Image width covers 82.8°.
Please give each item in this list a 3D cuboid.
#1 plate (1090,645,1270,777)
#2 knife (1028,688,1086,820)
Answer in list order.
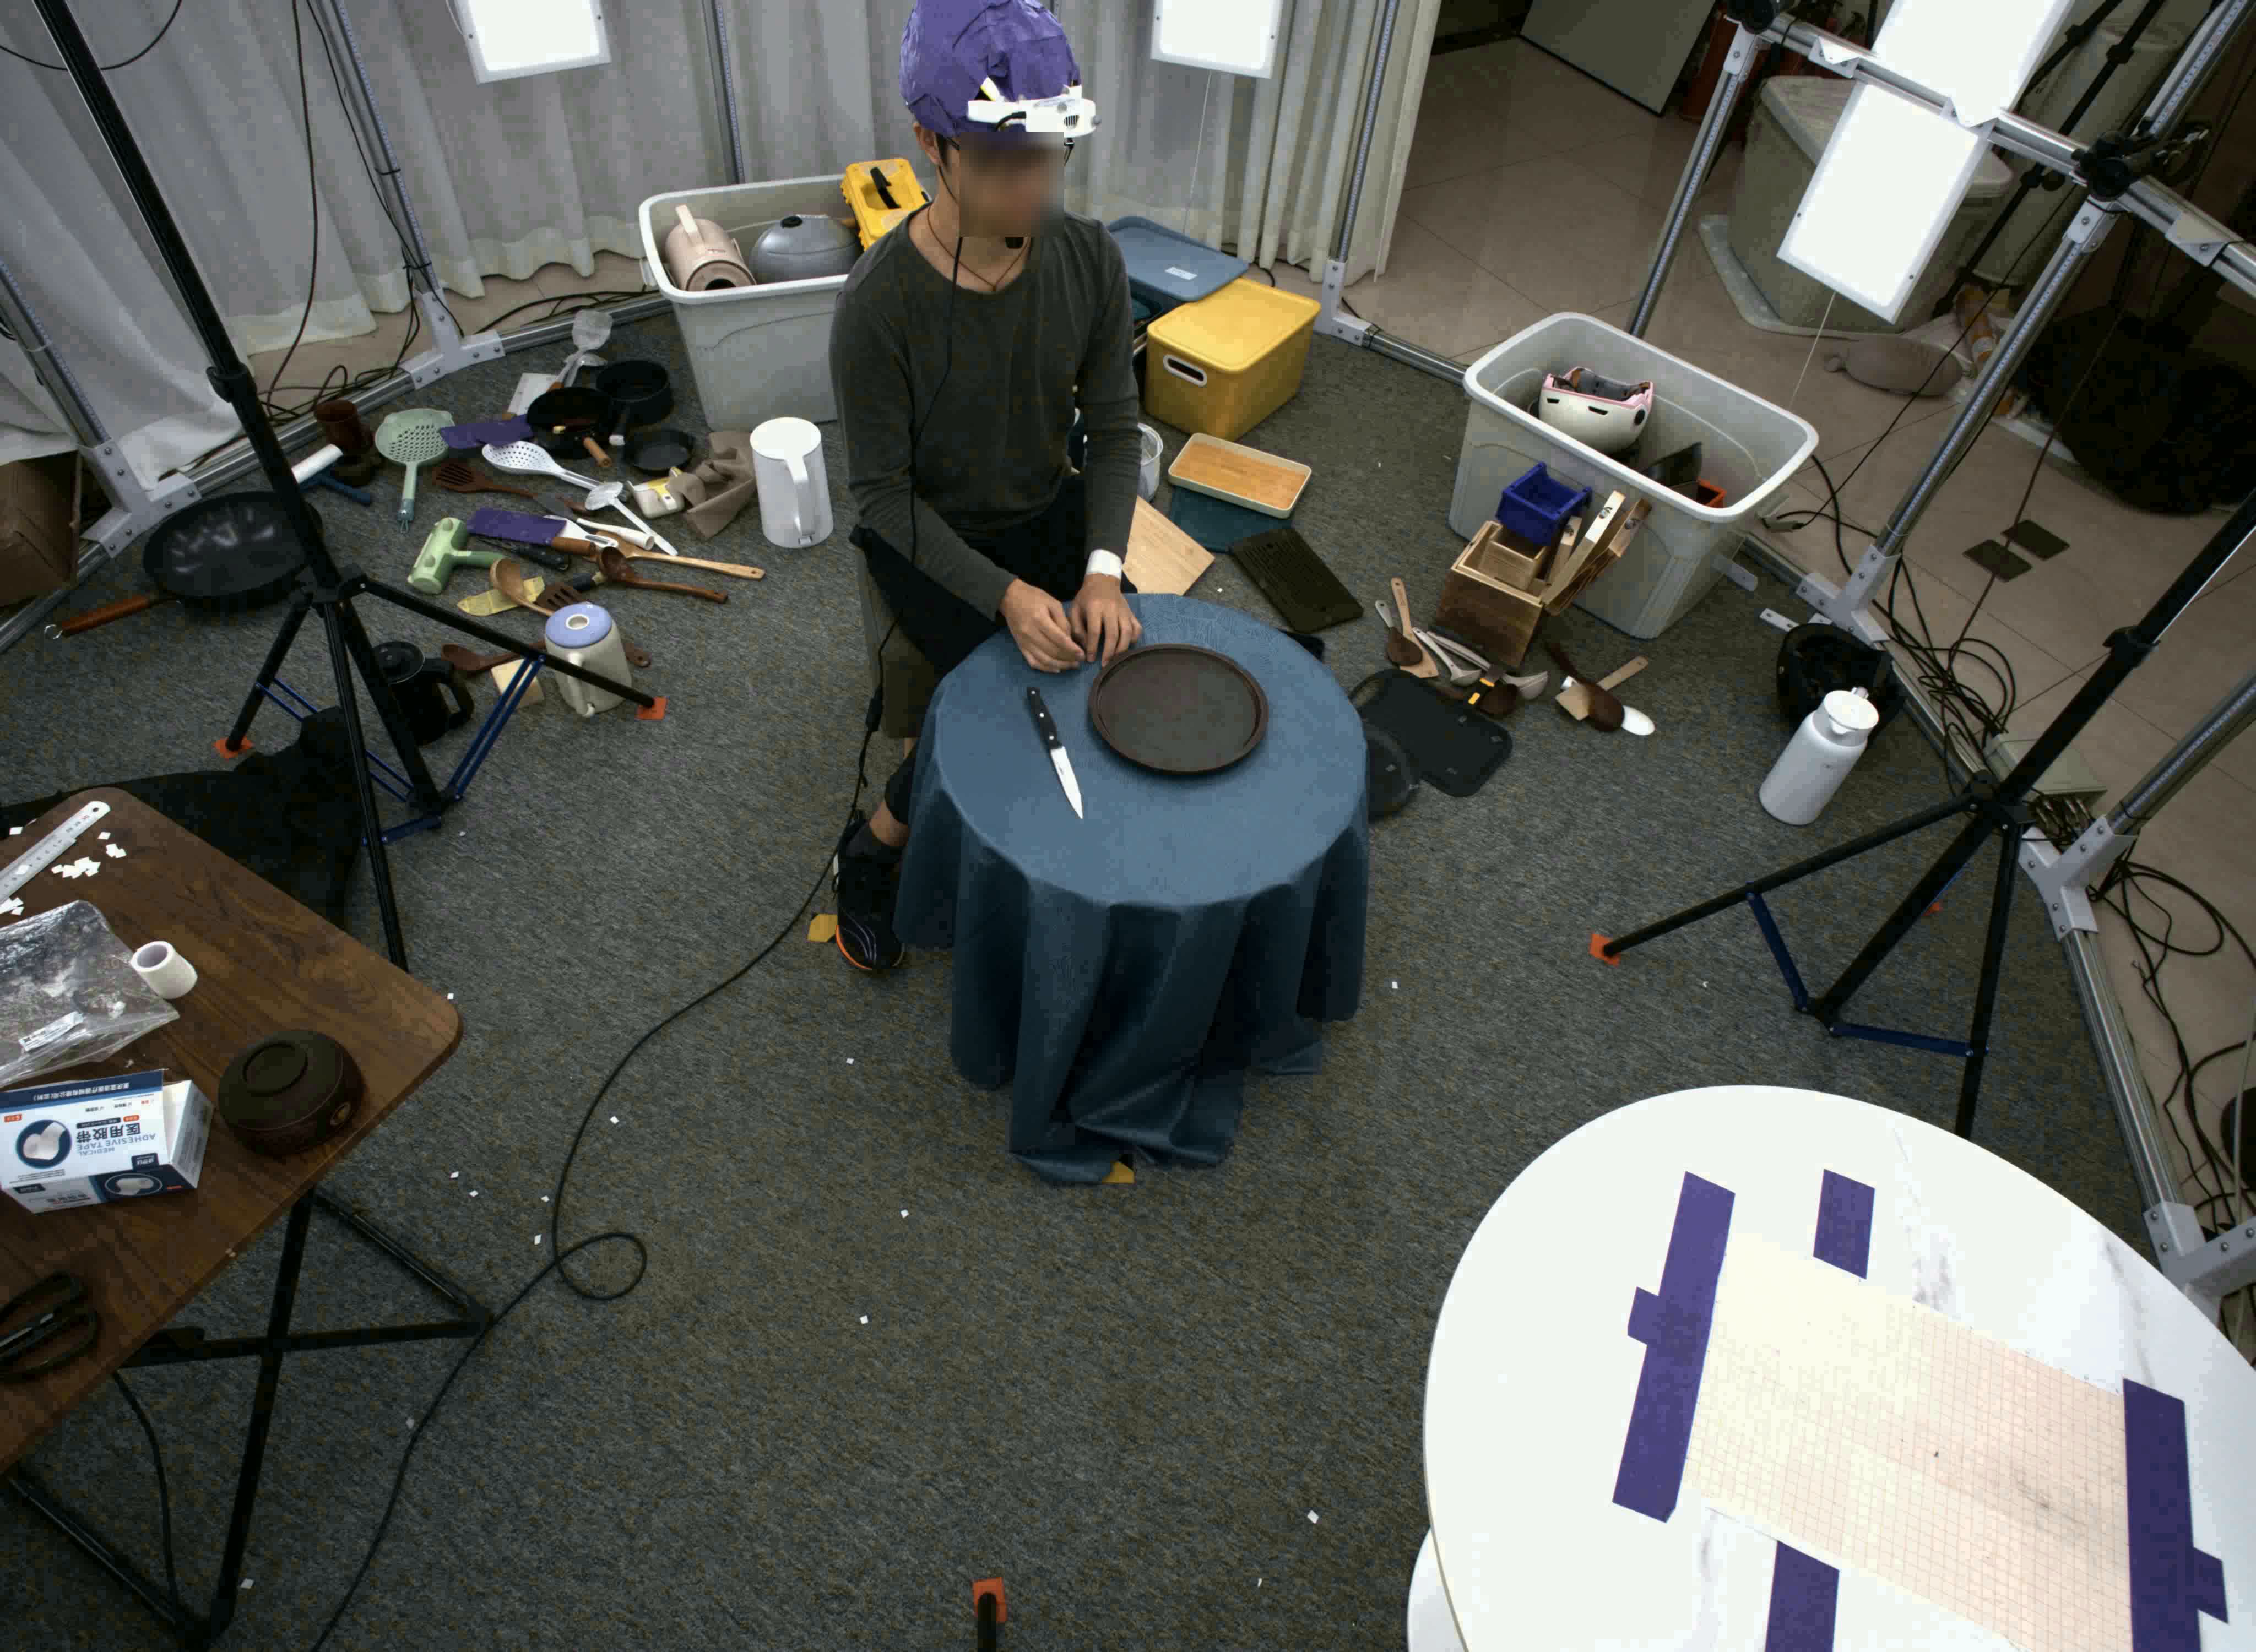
[{"bbox_3d":[0.072,-0.163,1.799,0.254,0.028,0.261,2,50,-3],"label":"plate"},{"bbox_3d":[-0.097,-0.099,1.739,0.024,0.016,0.244,-10,53,-17],"label":"knife"}]
